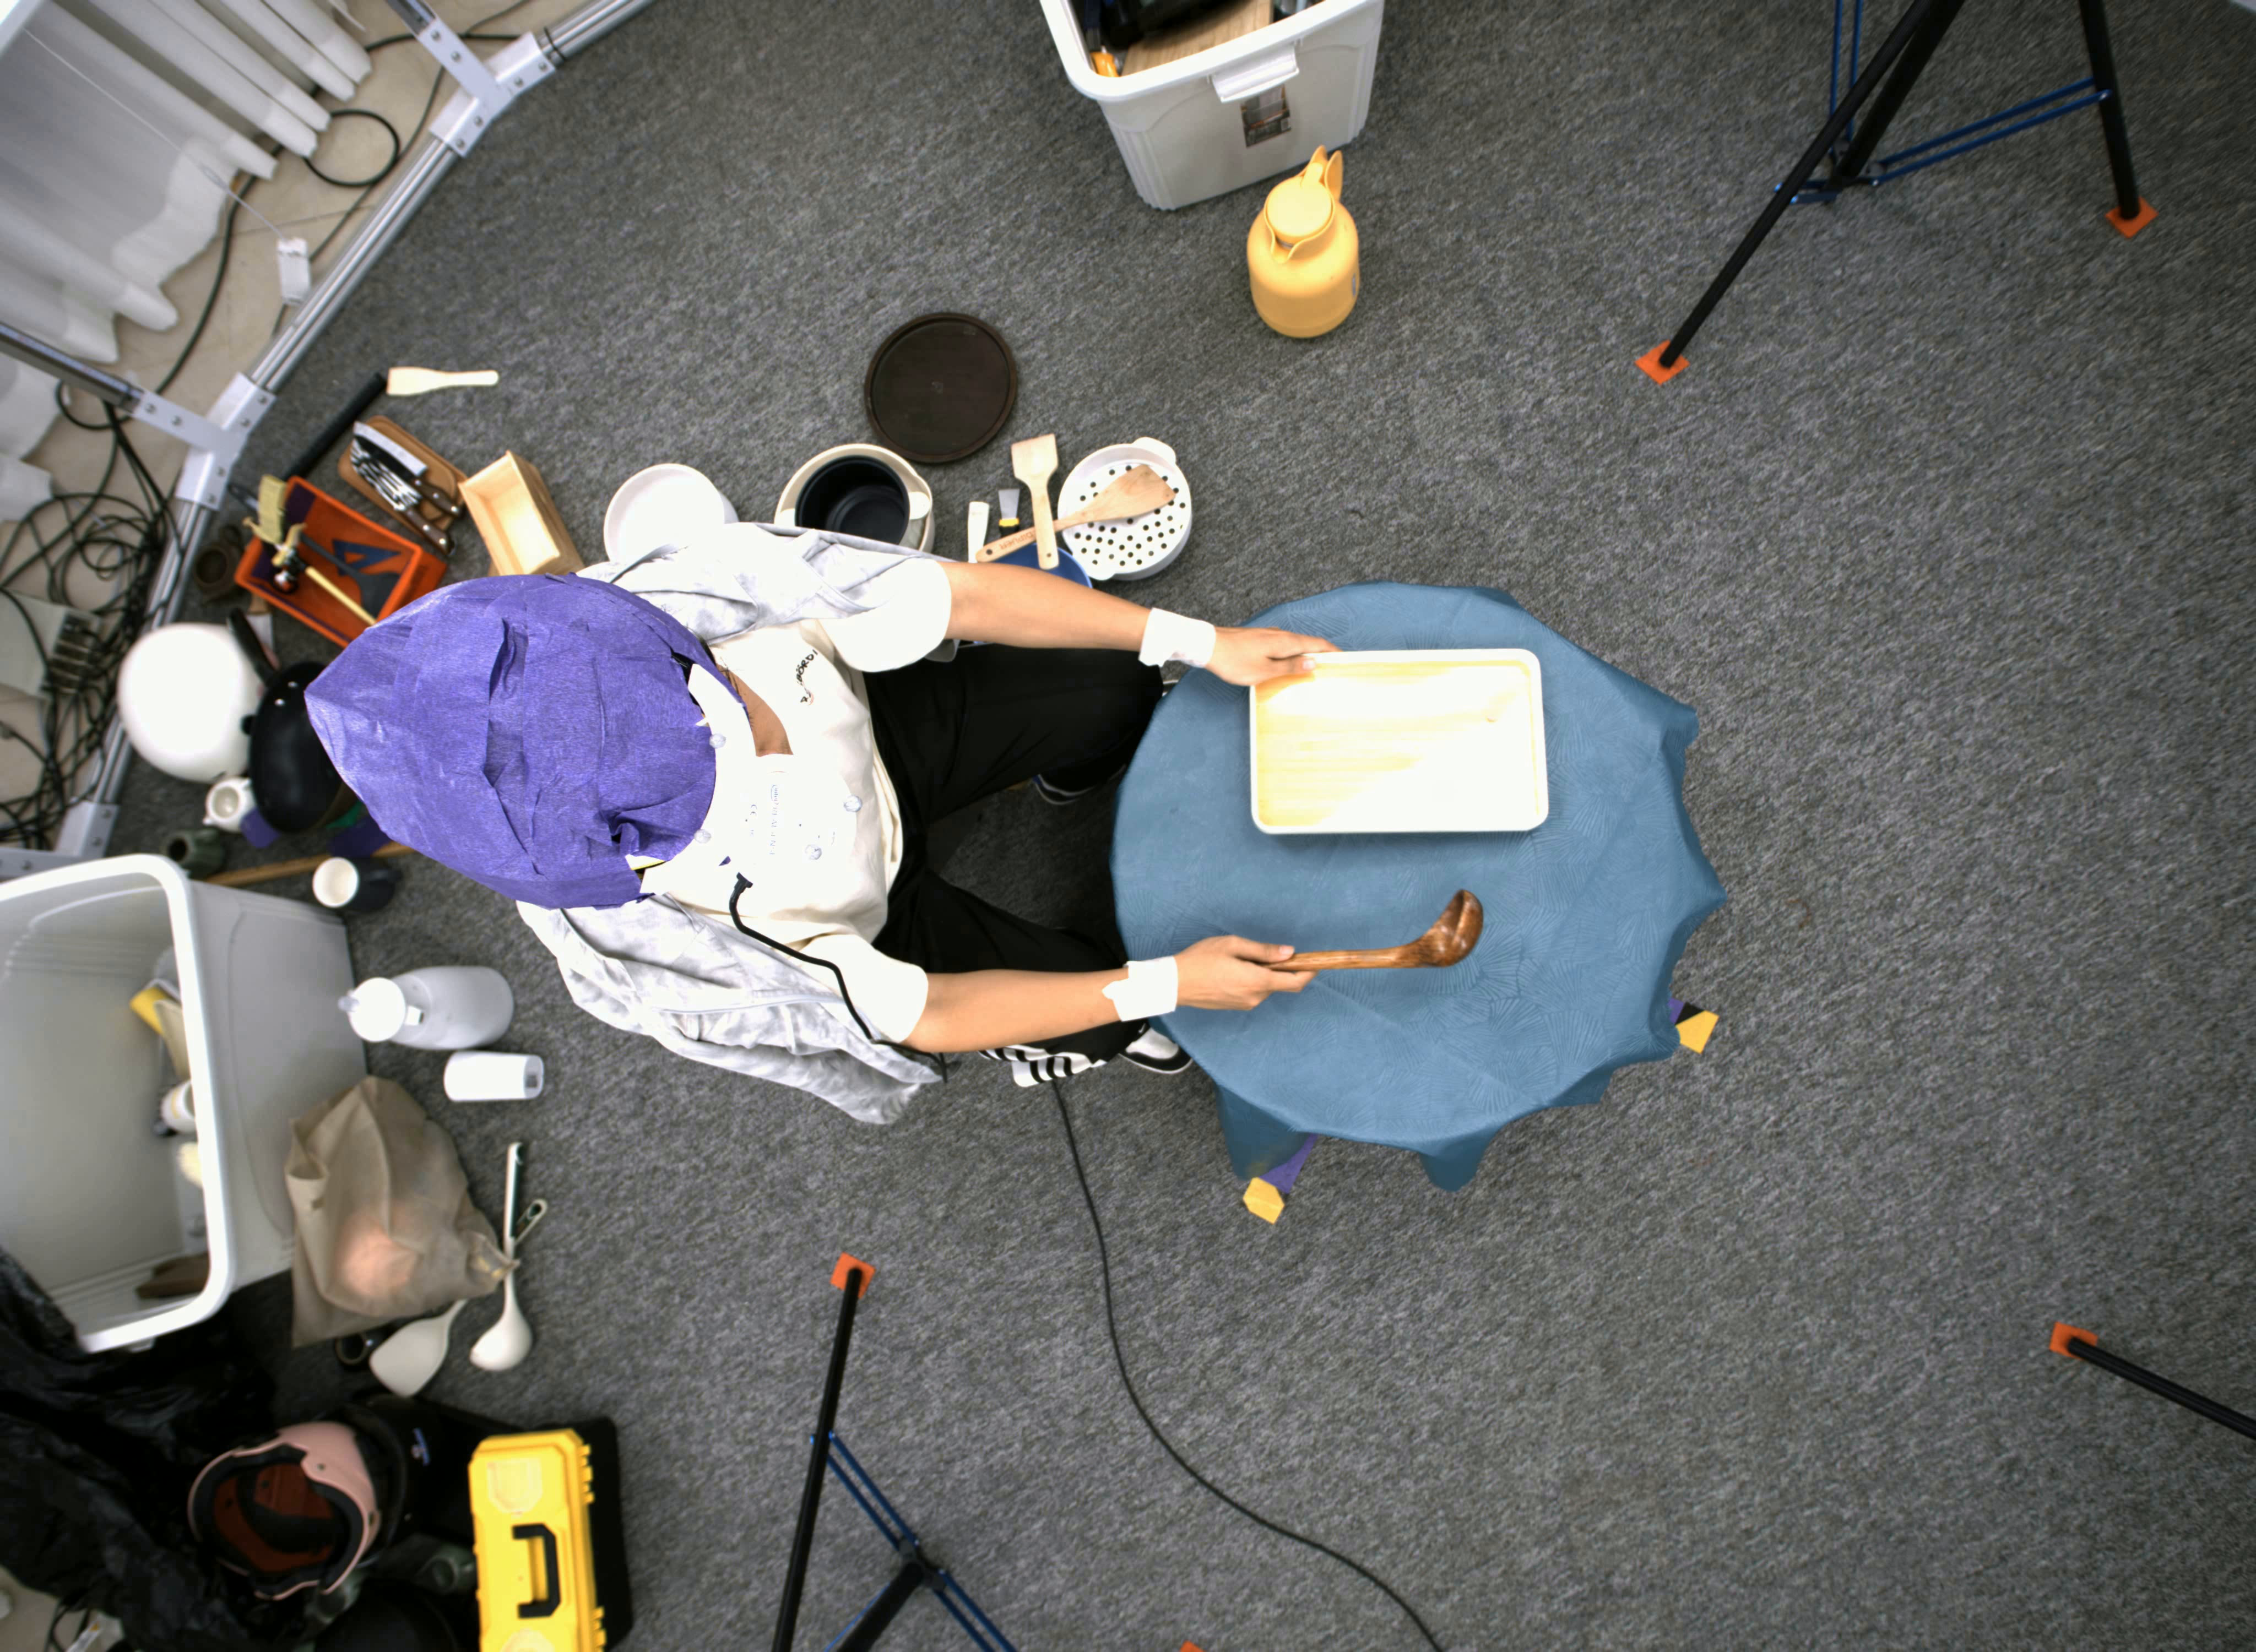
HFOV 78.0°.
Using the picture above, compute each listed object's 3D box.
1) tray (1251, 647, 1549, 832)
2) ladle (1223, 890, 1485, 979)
[{"bbox_3d":[0.280,-0.091,1.427,0.301,0.027,0.190,-1,82,5],"label":"tray"},{"bbox_3d":[0.217,0.111,1.372,0.276,0.080,0.078,-6,121,22],"label":"ladle"}]
